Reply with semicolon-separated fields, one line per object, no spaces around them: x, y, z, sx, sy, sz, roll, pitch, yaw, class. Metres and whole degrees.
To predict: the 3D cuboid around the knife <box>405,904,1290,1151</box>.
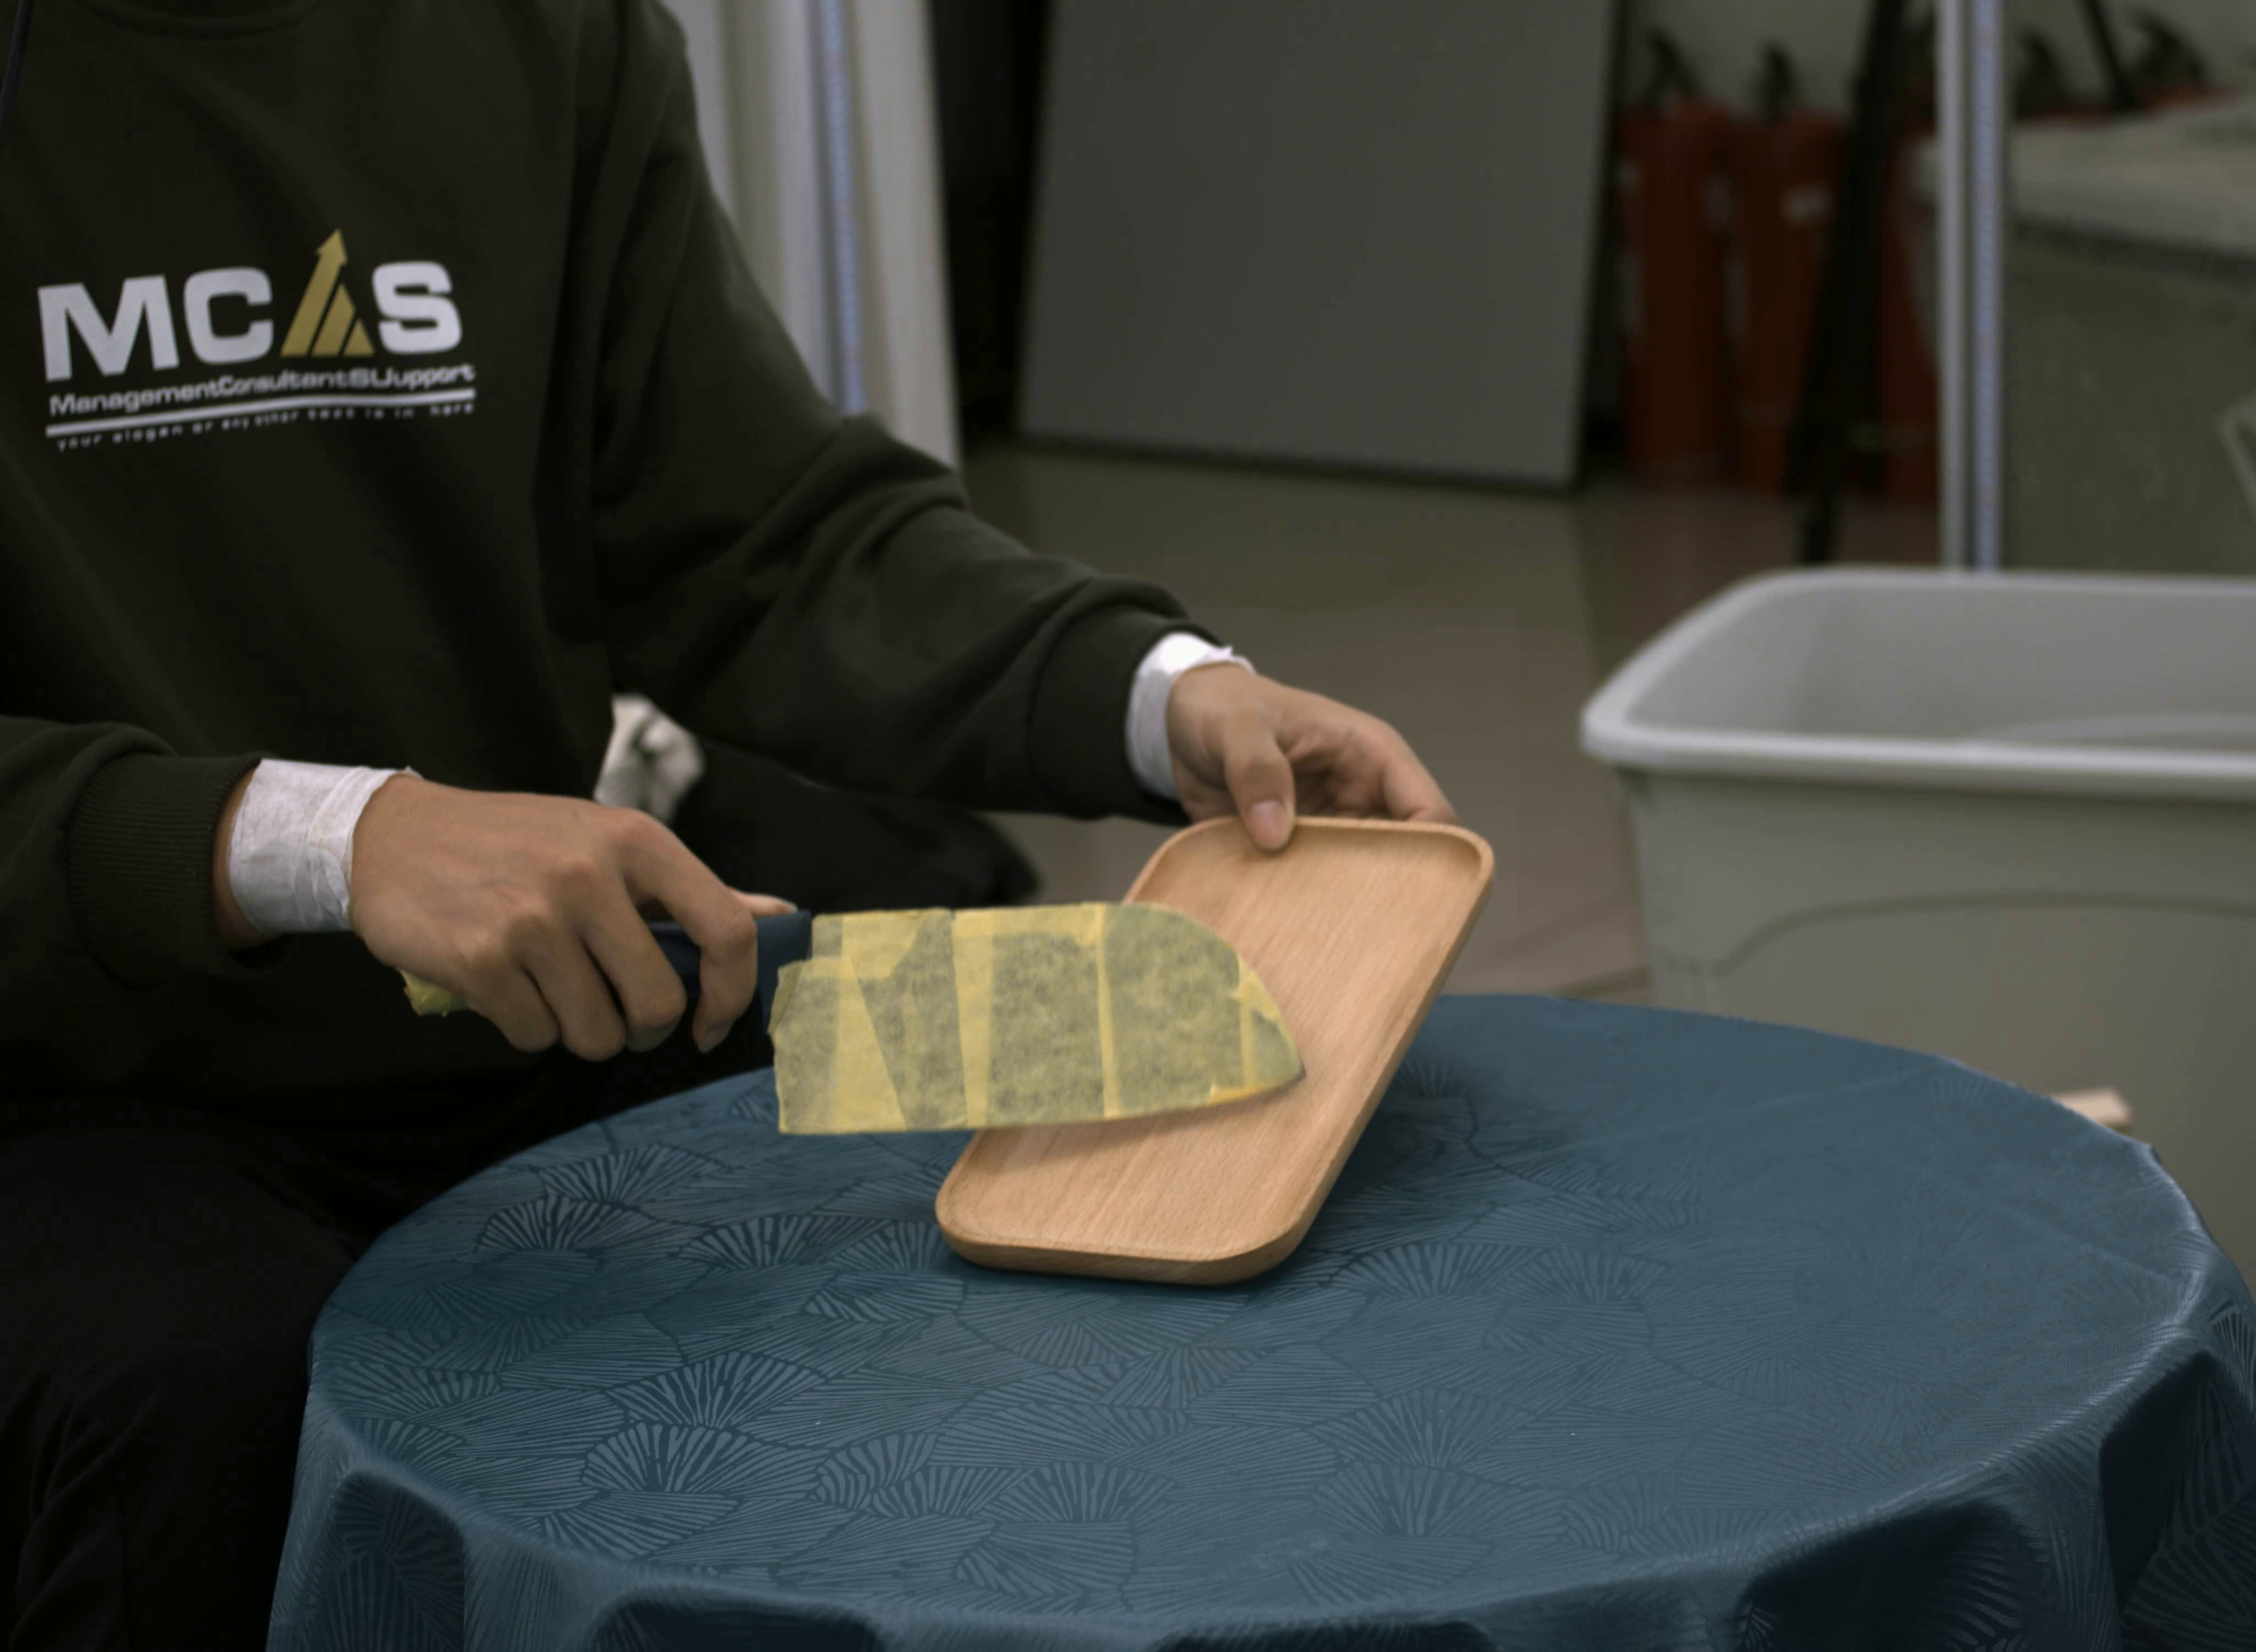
-0.090;0.065;1.741;0.286;0.082;0.027;0;-18;2;knife

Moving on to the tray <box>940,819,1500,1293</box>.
0.034;0.073;1.773;0.131;0.023;0.249;-1;34;26;tray
